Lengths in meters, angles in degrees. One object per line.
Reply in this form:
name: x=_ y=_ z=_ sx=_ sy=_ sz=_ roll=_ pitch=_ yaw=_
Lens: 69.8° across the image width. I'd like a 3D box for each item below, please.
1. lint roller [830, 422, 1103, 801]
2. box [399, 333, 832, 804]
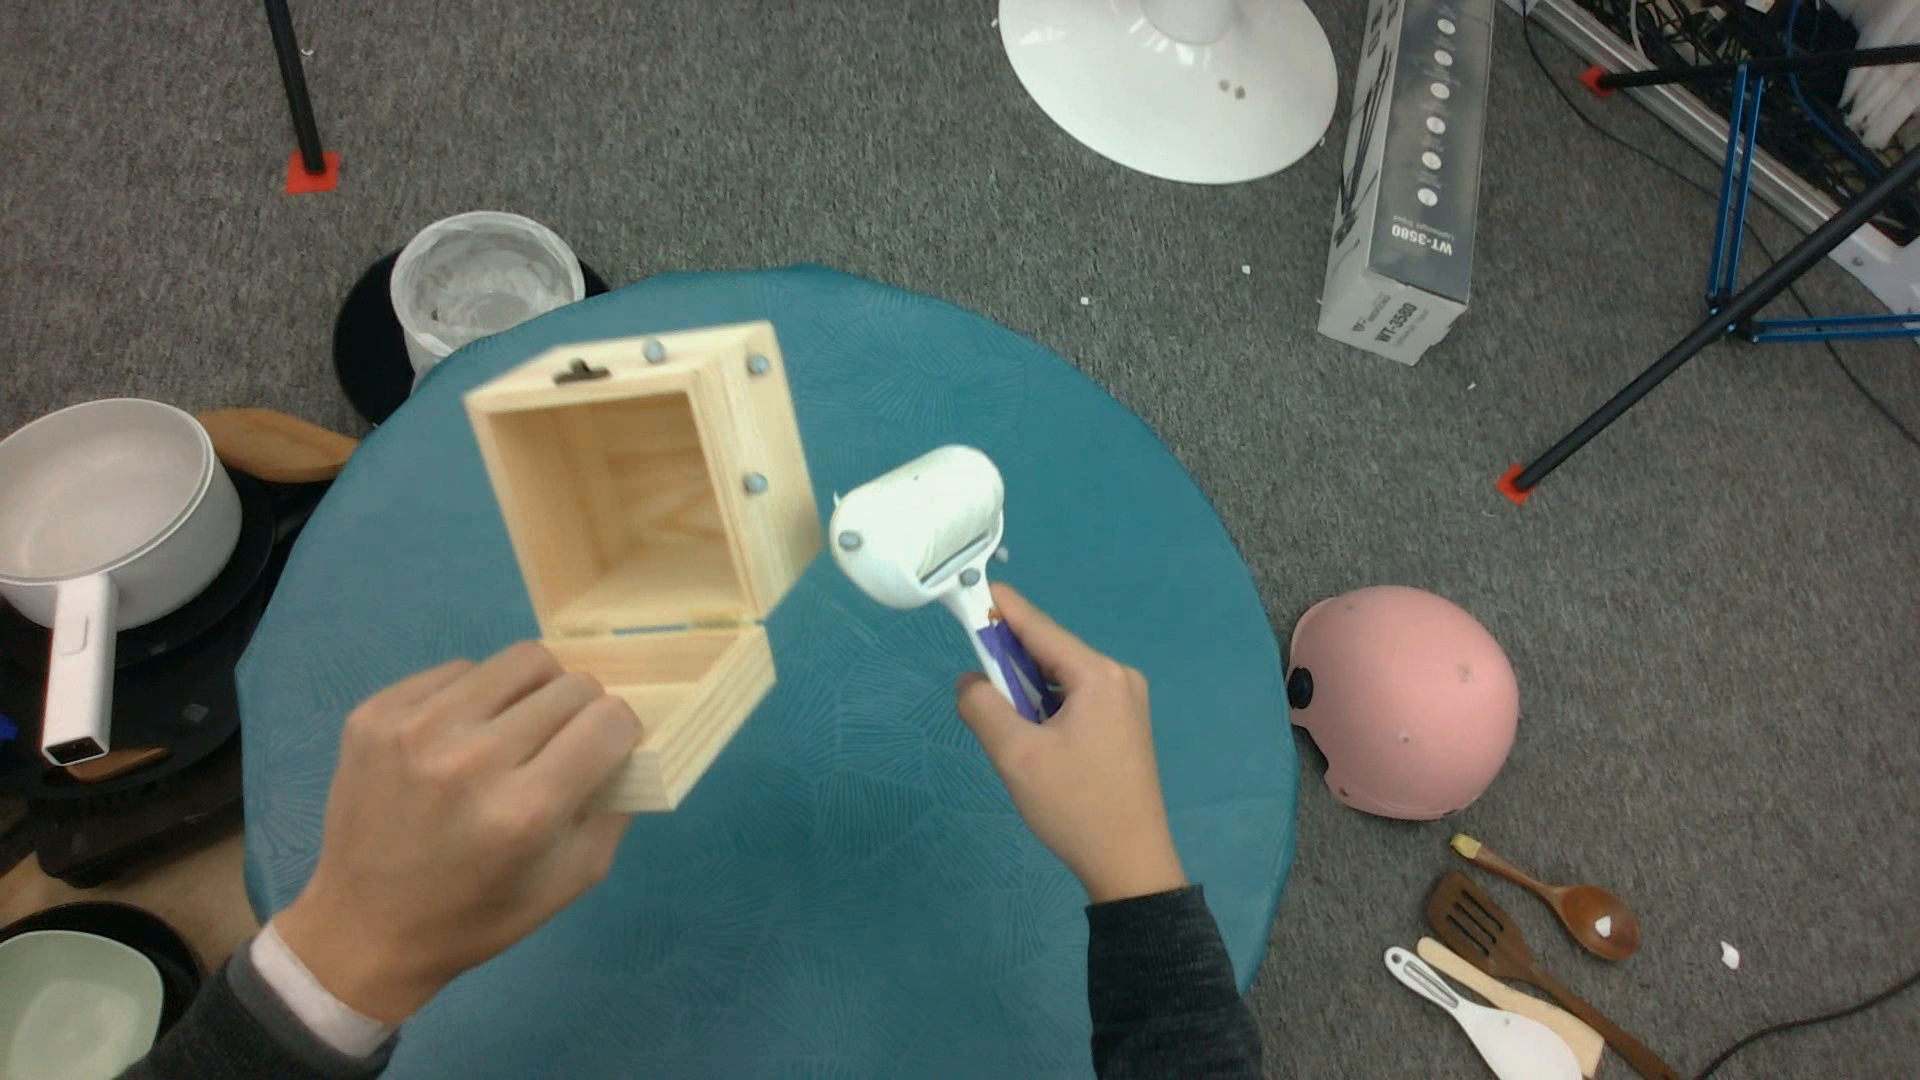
lint roller: x=0.021 y=0.033 z=0.605 sx=0.181 sy=0.050 sz=0.133 roll=54 pitch=23 yaw=1
box: x=-0.134 y=0.002 z=0.535 sx=0.102 sy=0.133 sz=0.185 roll=-4 pitch=20 yaw=17
